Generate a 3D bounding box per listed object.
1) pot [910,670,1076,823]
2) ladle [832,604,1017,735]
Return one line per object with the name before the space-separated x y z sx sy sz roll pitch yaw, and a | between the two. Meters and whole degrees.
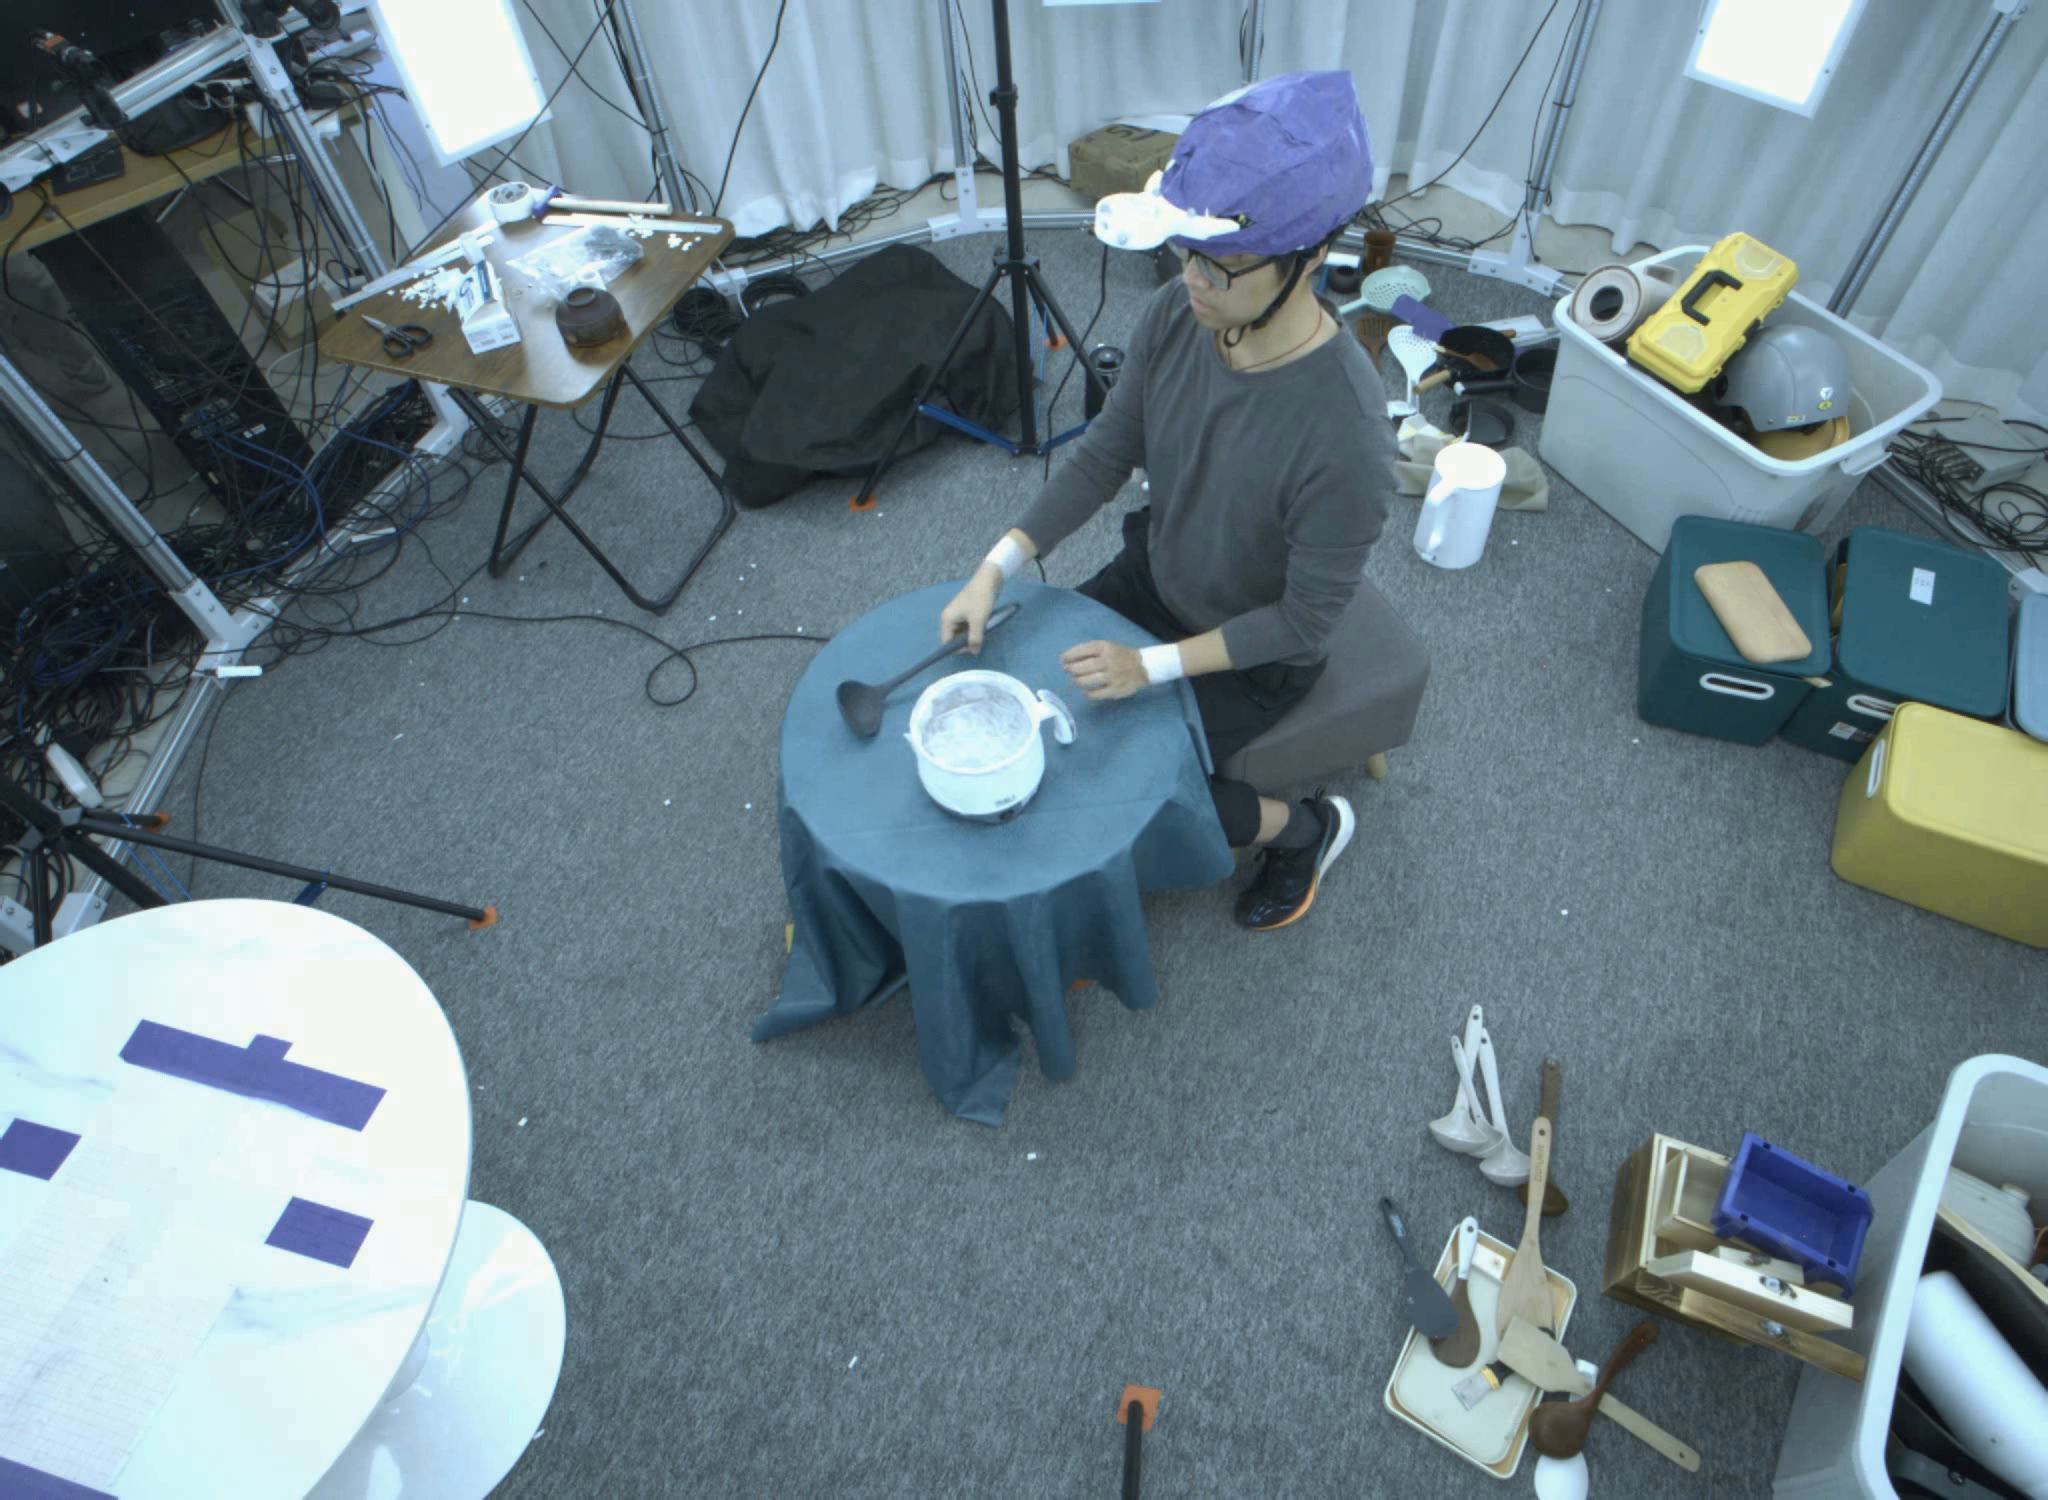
pot | -0.038 -0.014 1.722 0.235 0.138 0.175 -22 57 -14
ladle | -0.142 -0.130 1.818 0.314 0.087 0.063 -32 15 -4
